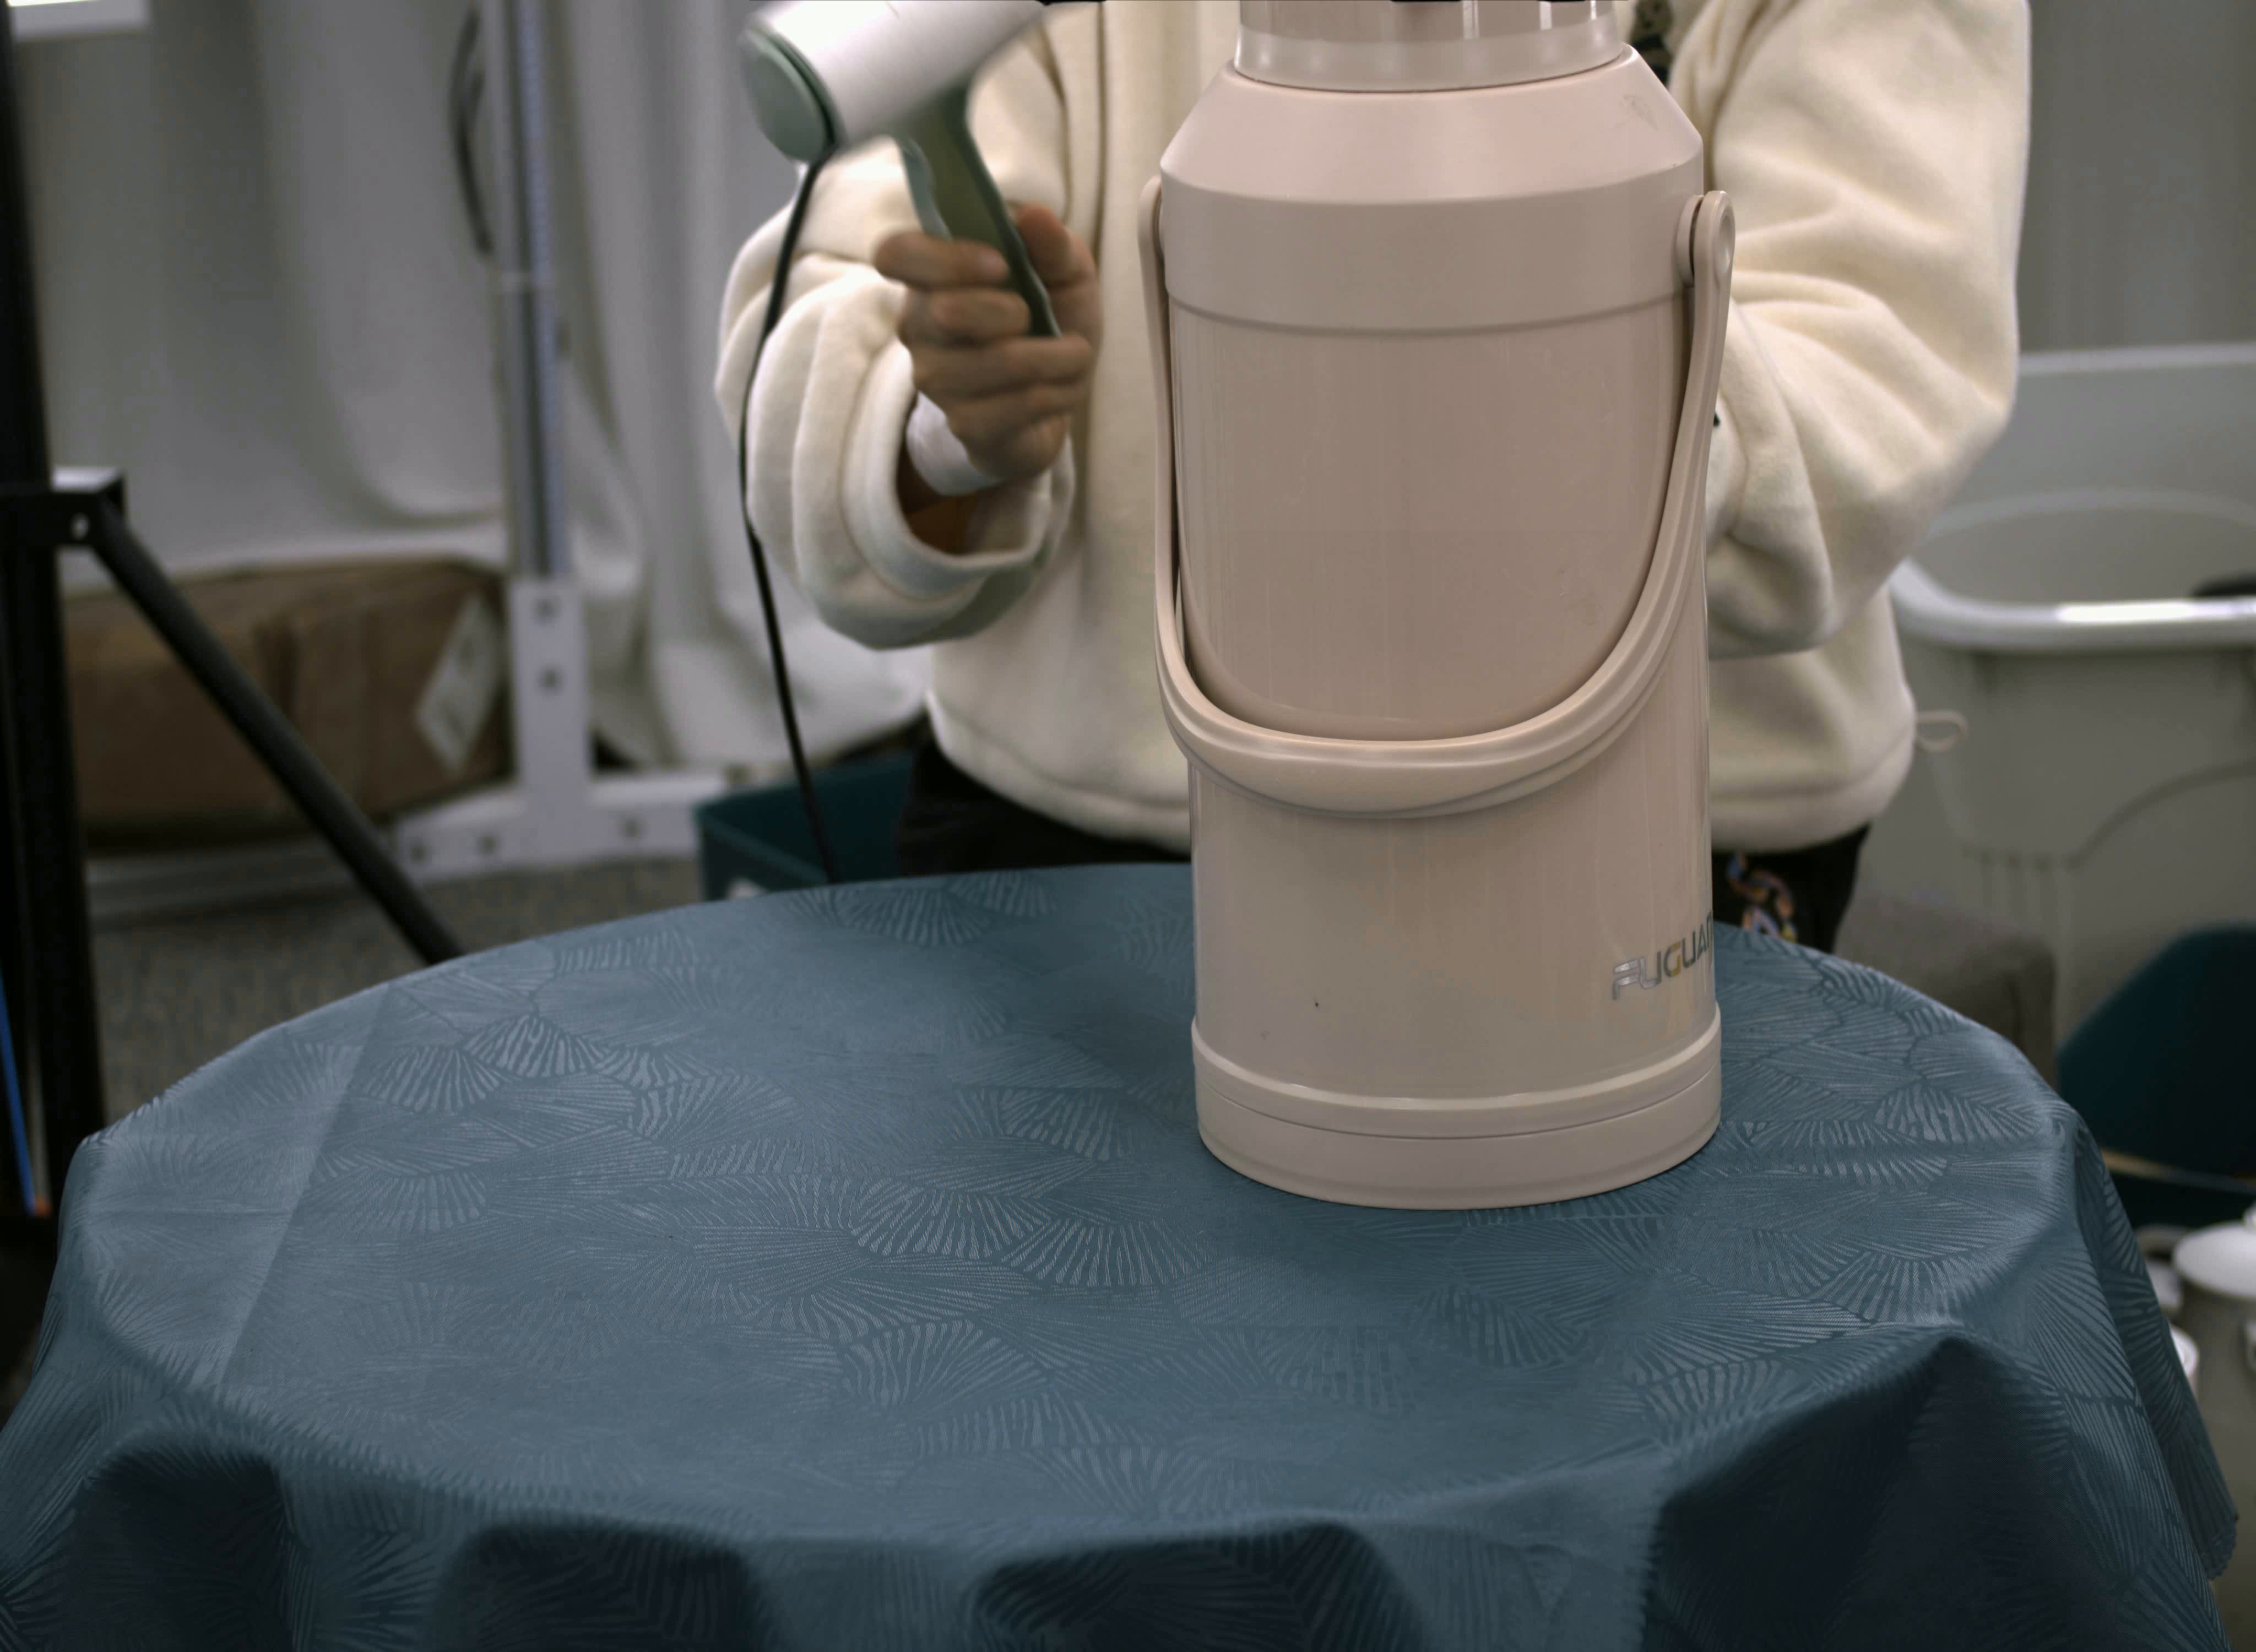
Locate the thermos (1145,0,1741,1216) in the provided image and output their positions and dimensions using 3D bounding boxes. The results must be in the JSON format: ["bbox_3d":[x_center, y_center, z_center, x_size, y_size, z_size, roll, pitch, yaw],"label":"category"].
[{"bbox_3d":[0.098,-0.104,1.560,0.178,0.406,0.204,4,17,23],"label":"thermos"}]

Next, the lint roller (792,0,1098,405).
[{"bbox_3d":[-0.041,-0.207,1.669,0.115,0.195,0.049,-39,61,-18],"label":"lint roller"}]
